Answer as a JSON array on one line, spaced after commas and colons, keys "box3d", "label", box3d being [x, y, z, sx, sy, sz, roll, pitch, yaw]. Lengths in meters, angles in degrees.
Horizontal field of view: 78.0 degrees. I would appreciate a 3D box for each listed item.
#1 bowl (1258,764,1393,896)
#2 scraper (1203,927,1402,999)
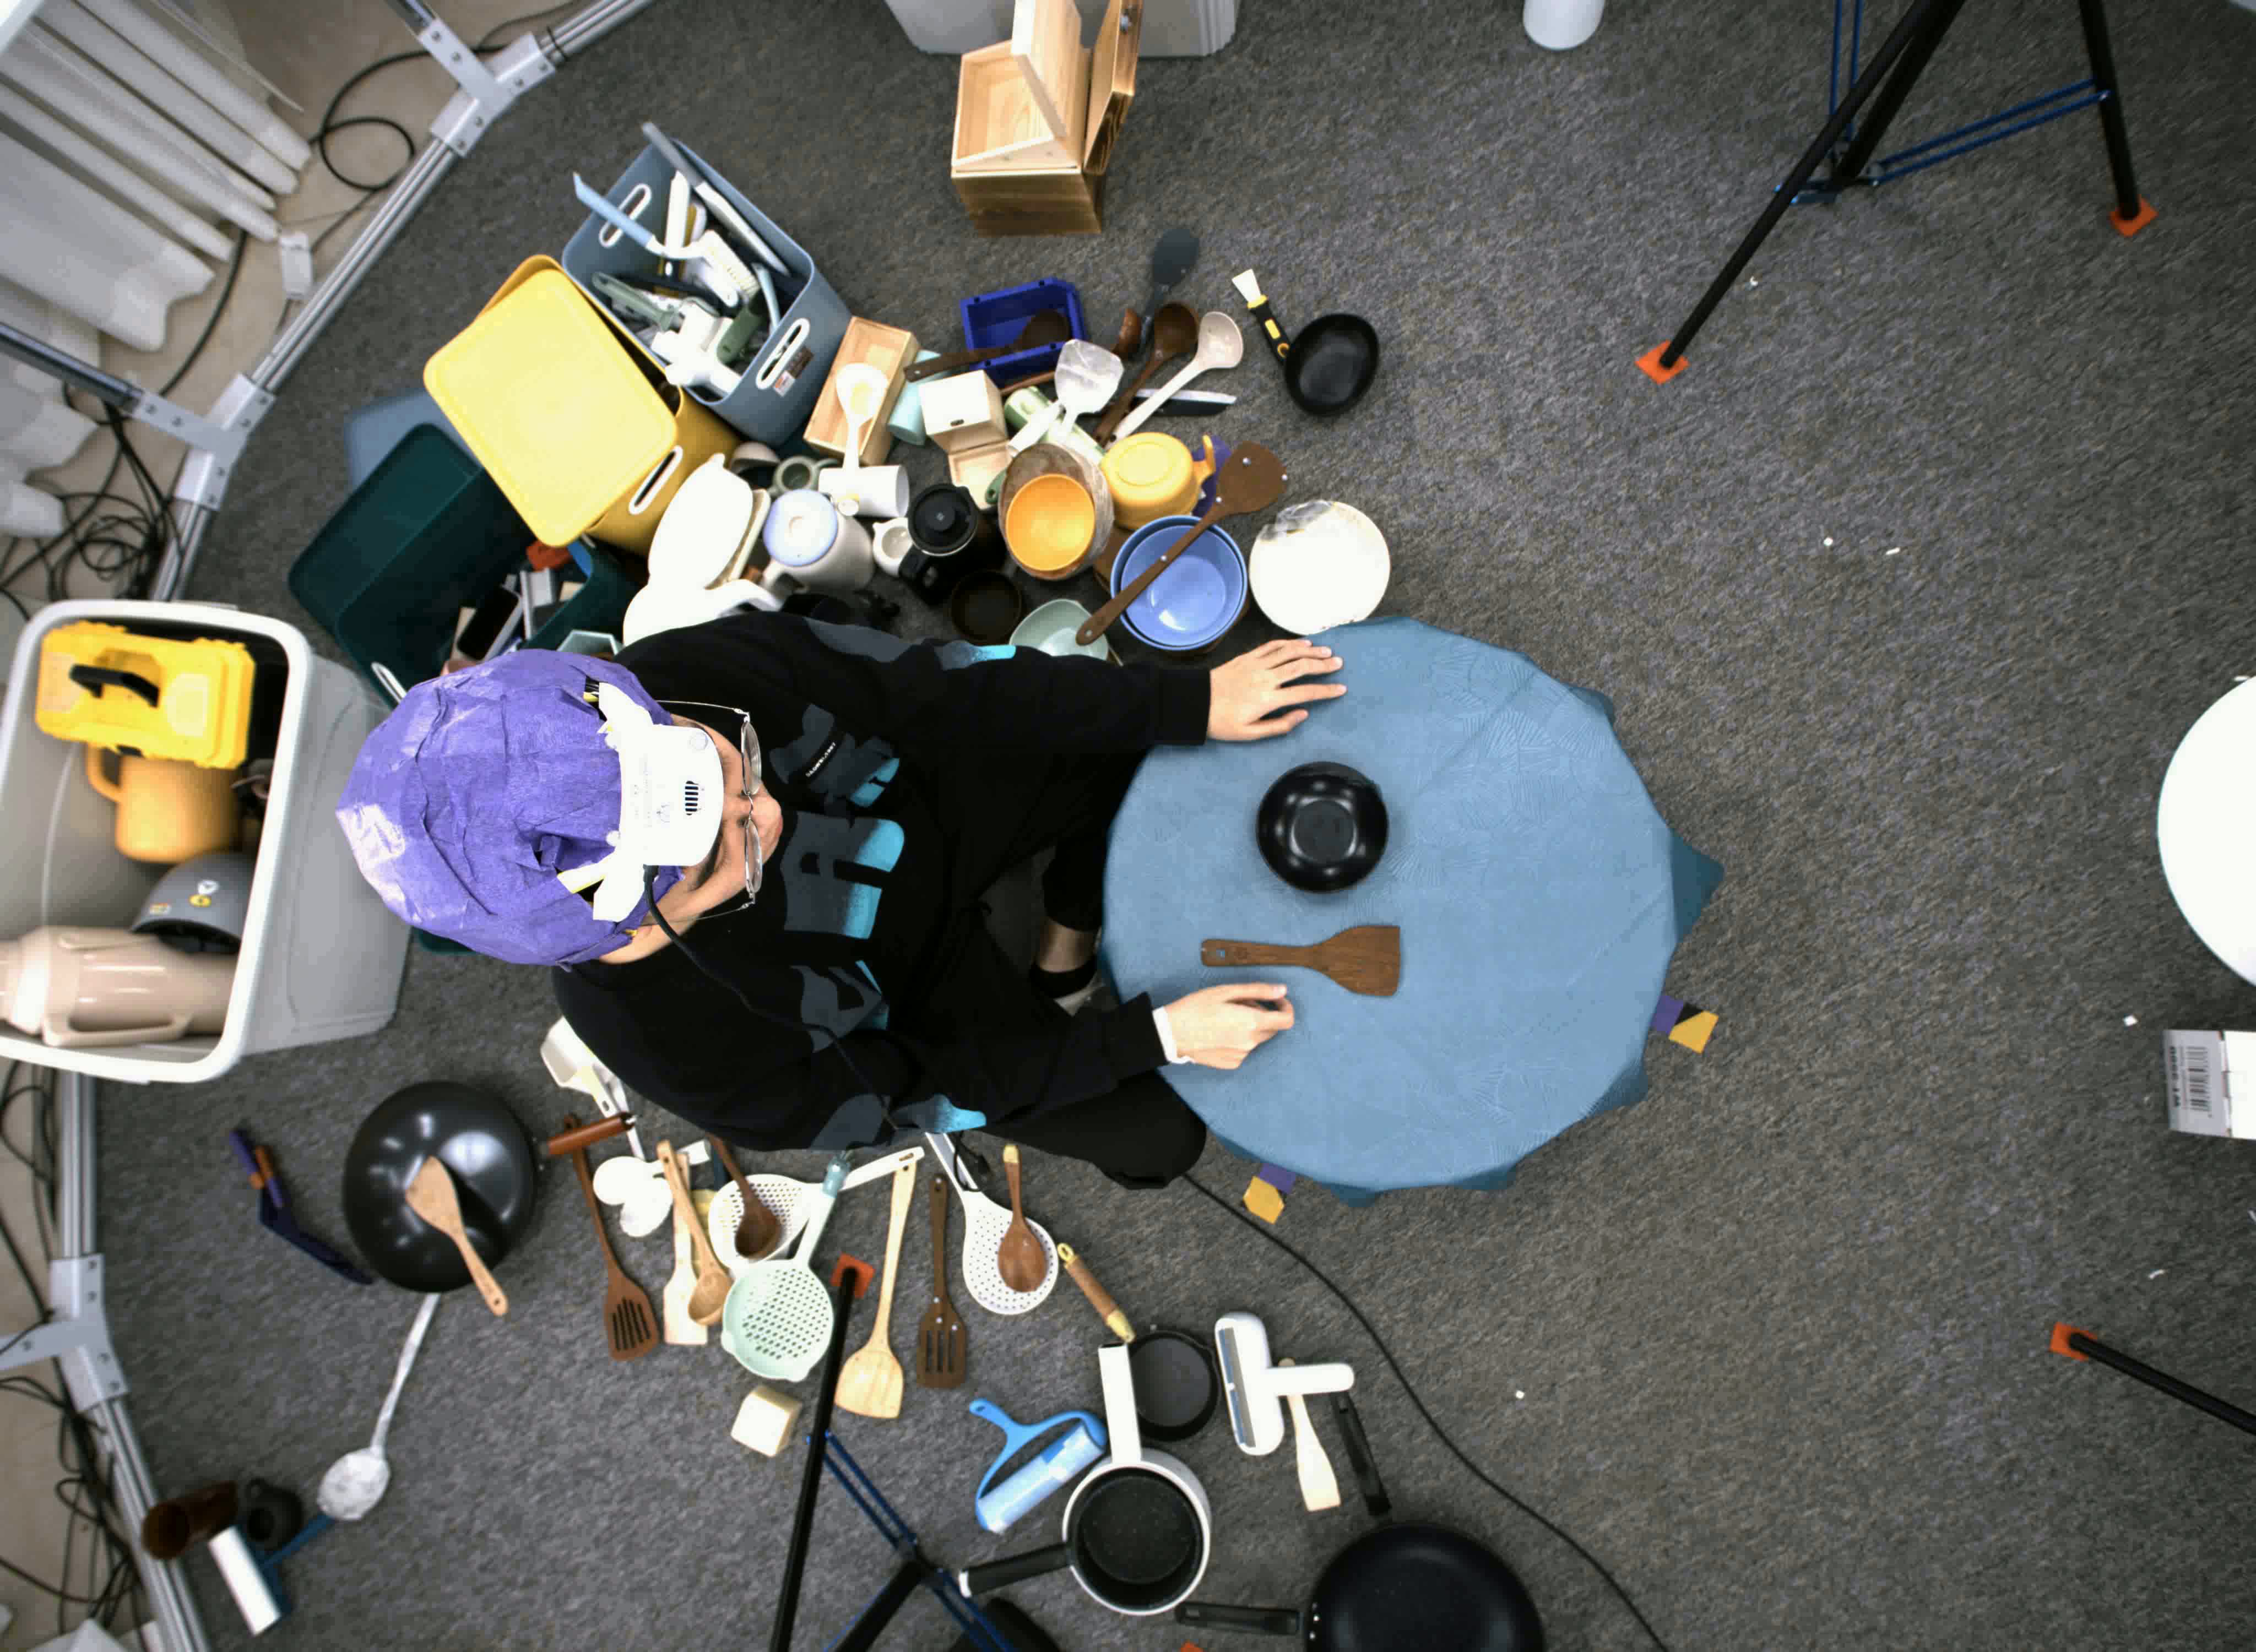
[{"box3d": [0.208, 0.004, 1.457, 0.140, 0.049, 0.139, -1, 89, 11], "label": "bowl"}, {"box3d": [0.184, 0.140, 1.472, 0.212, 0.011, 0.075, 2, 86, 11], "label": "scraper"}]
